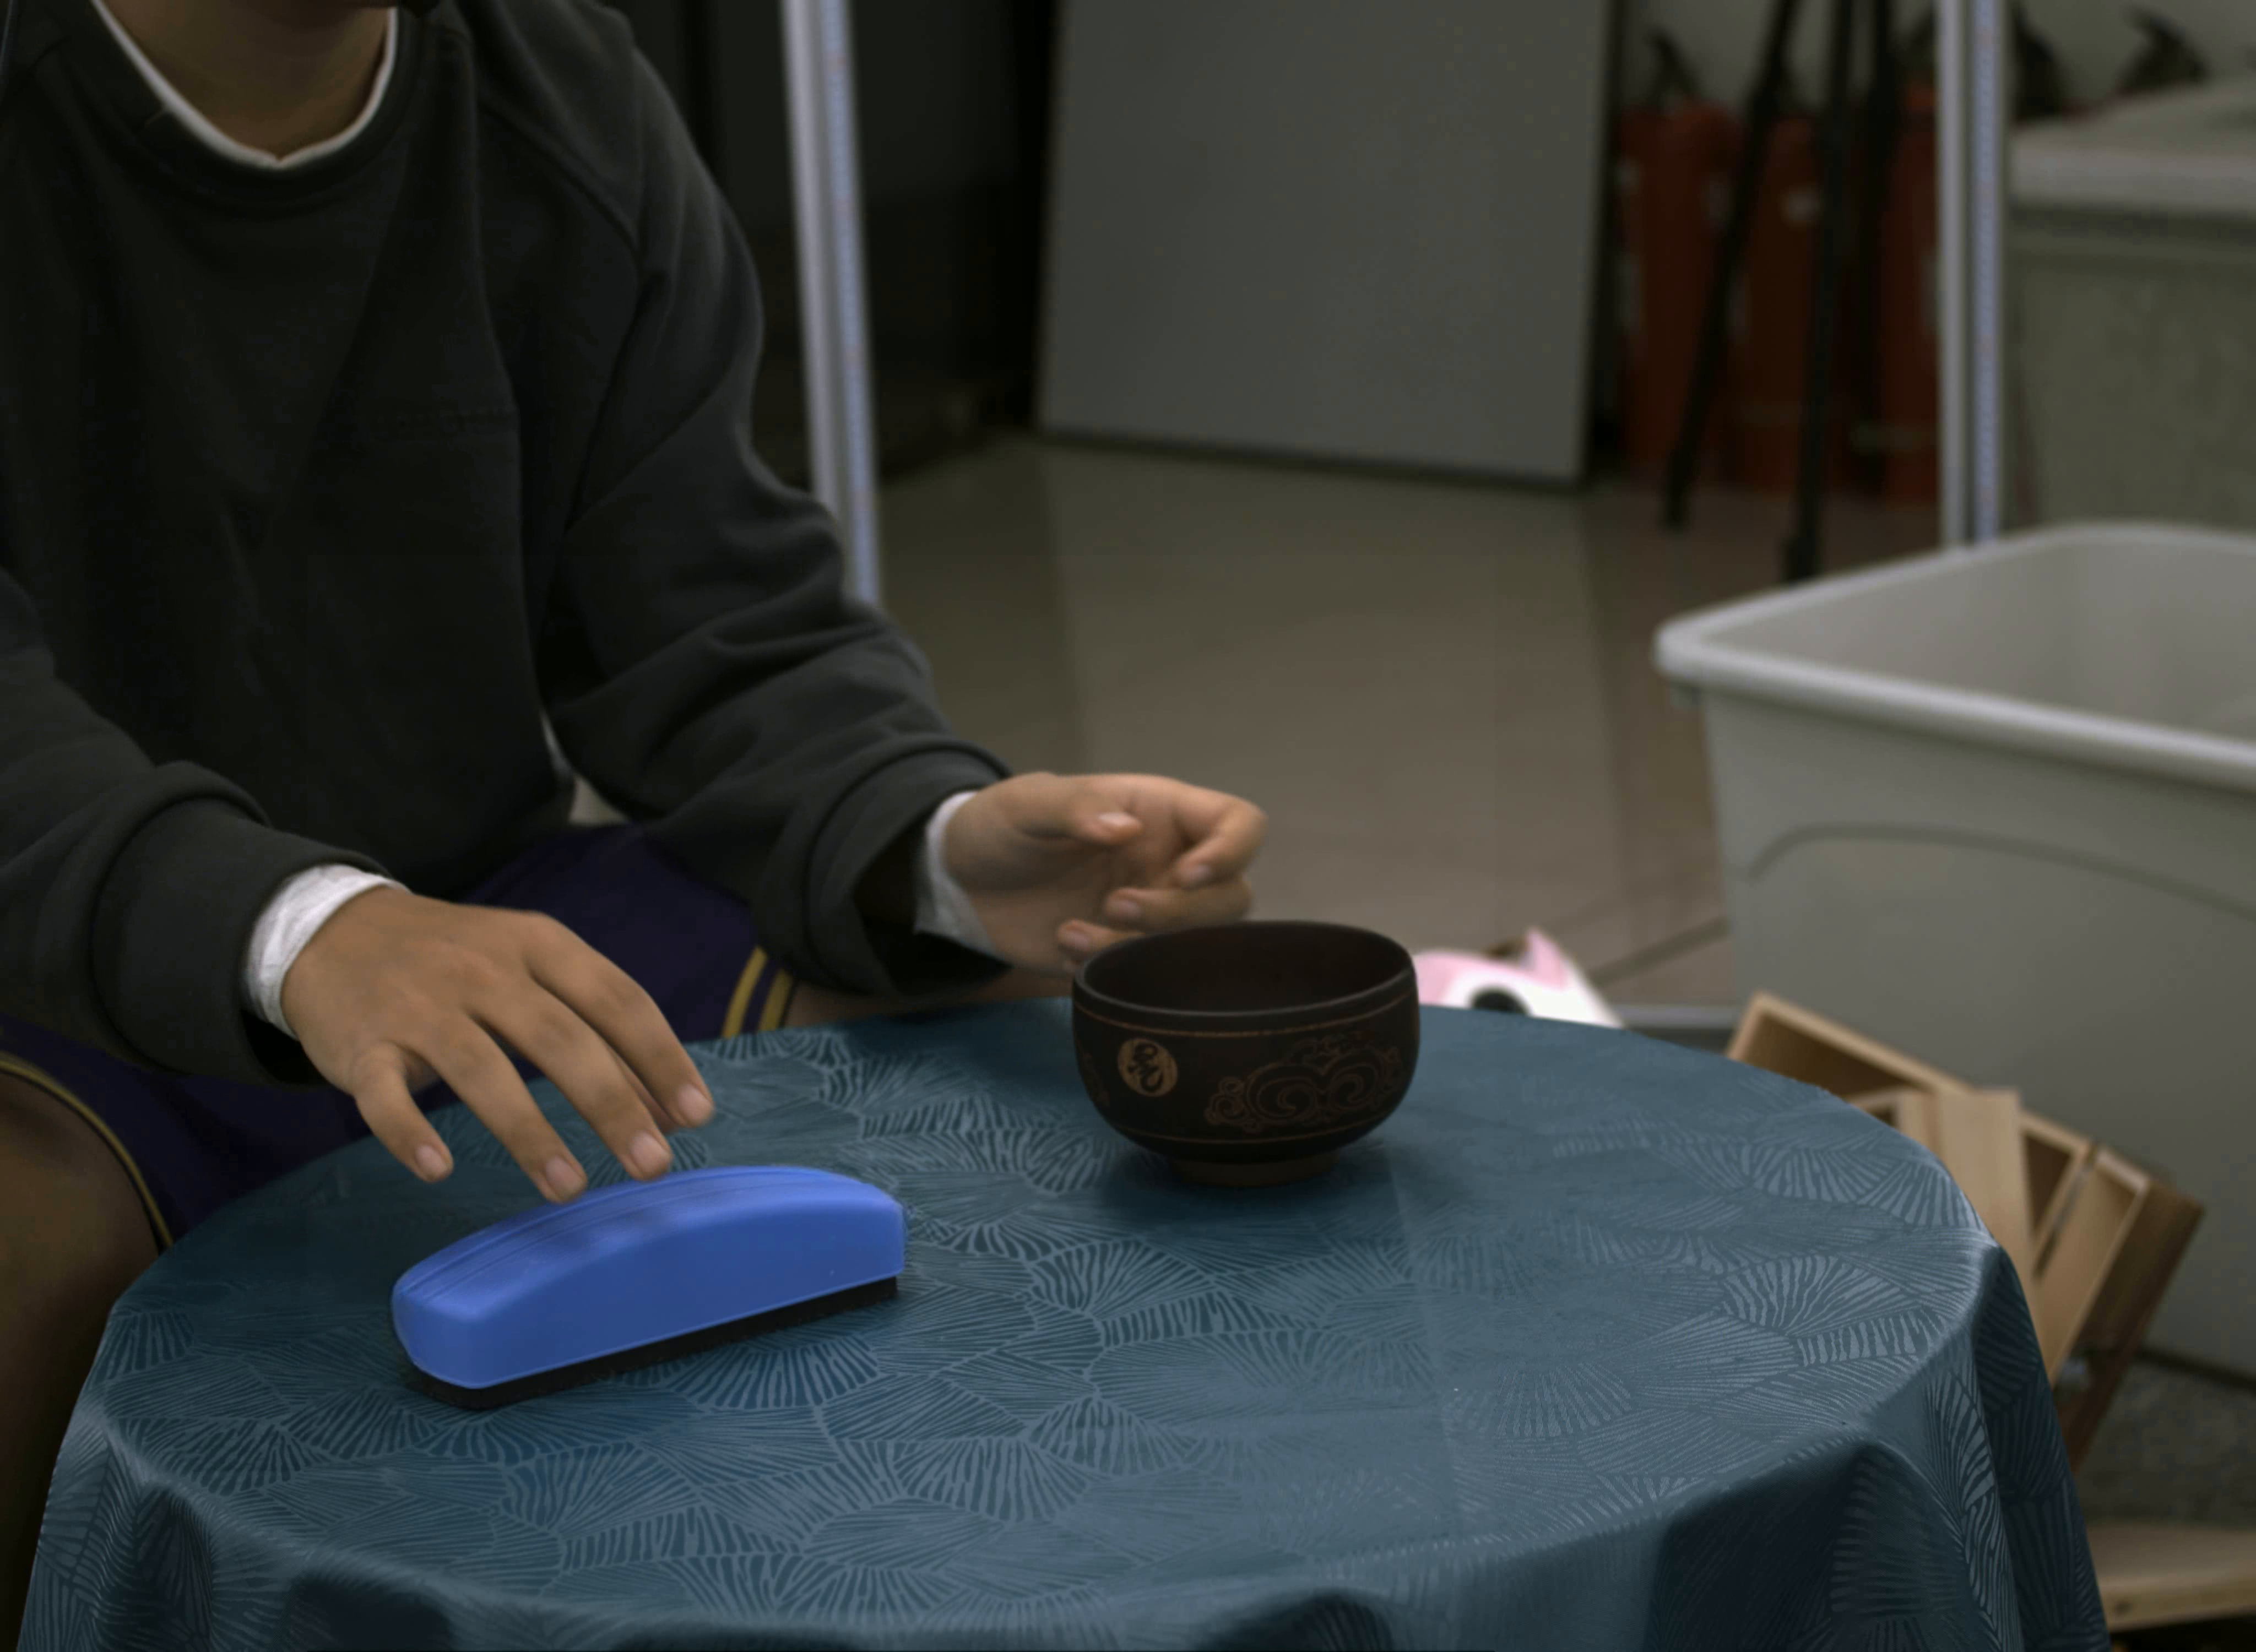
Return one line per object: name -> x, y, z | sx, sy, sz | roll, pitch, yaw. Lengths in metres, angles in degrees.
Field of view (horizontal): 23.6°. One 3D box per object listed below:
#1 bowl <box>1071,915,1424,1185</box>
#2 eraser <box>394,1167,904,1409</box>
bowl -> 0.041, 0.077, 1.781 | 0.116, 0.070, 0.118 | -5, 13, 0
eraser -> -0.146, 0.135, 1.655 | 0.158, 0.048, 0.054 | -12, 17, -33
